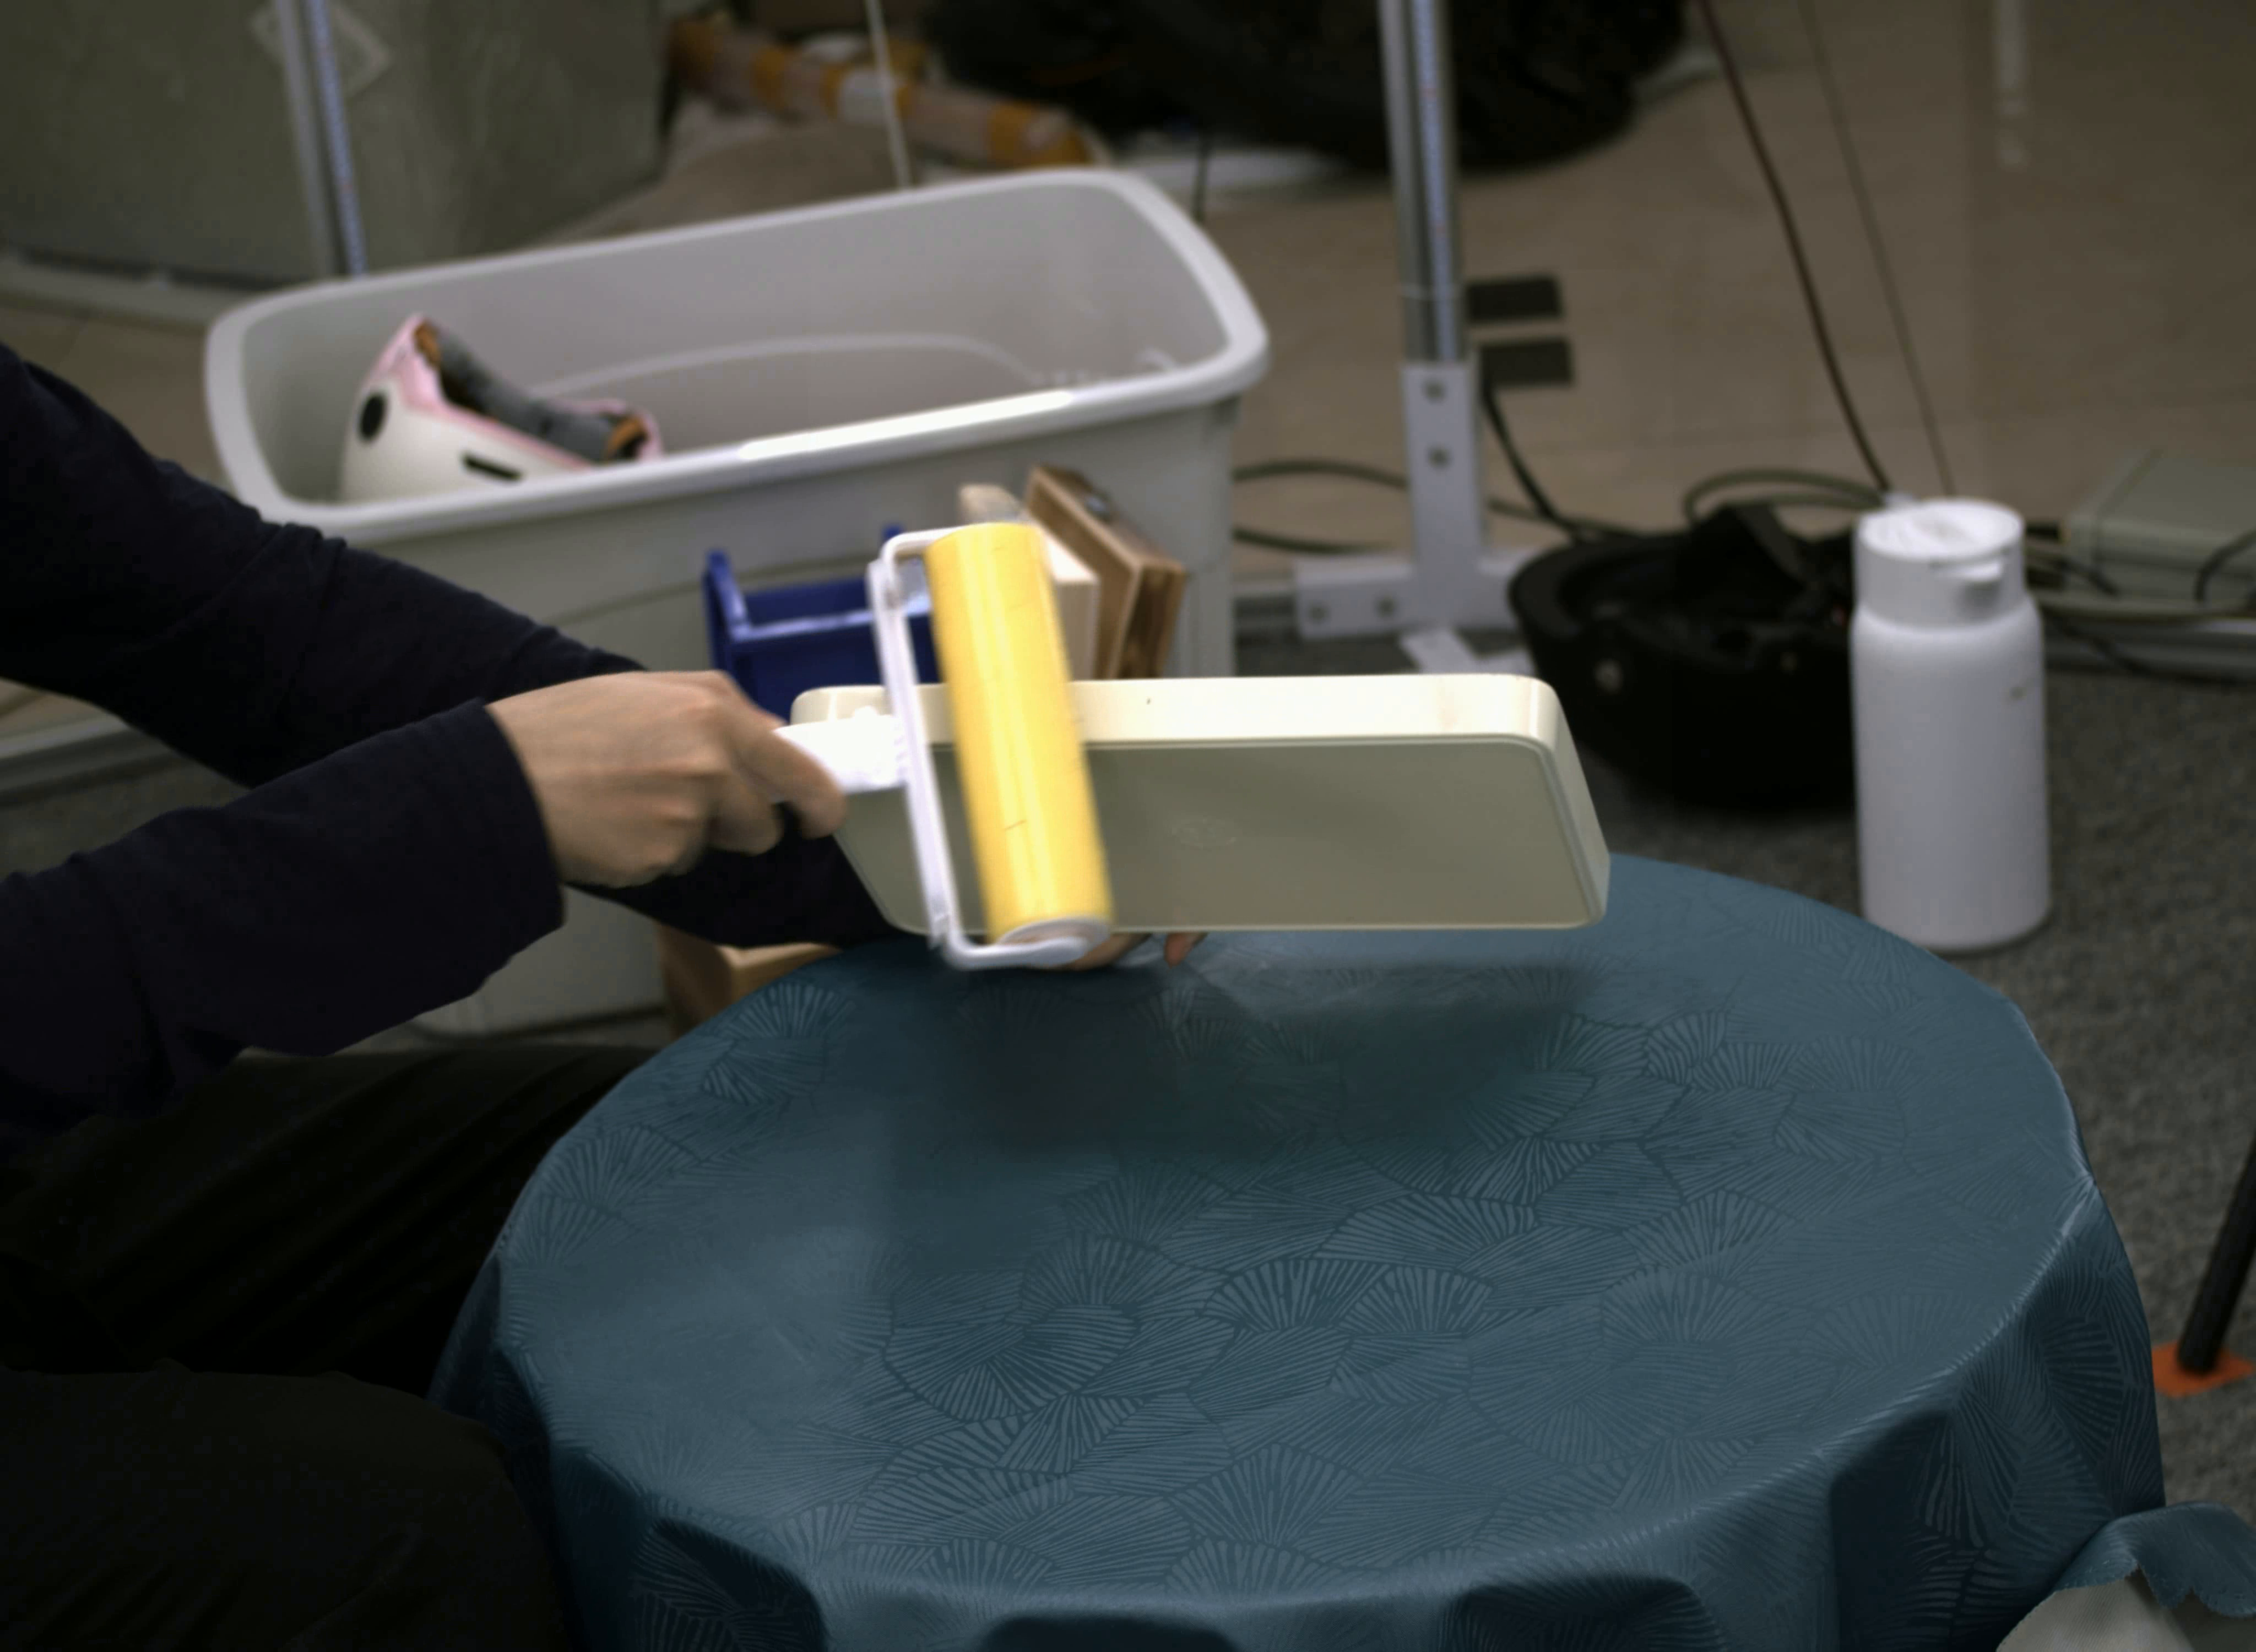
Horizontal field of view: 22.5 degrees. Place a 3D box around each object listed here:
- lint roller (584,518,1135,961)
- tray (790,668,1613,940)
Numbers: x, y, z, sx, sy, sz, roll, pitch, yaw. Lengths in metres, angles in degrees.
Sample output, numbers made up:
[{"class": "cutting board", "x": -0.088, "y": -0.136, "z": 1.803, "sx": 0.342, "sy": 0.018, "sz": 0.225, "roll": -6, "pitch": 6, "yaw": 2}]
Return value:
[{"class": "lint roller", "x": -0.104, "y": -0.027, "z": 2.095, "sx": 0.191, "sy": 0.172, "sz": 0.052, "roll": -4, "pitch": -21, "yaw": -22}, {"class": "tray", "x": 0.031, "y": -0.006, "z": 2.220, "sx": 0.300, "sy": 0.194, "sz": 0.027, "roll": -1, "pitch": 65, "yaw": 13}]
